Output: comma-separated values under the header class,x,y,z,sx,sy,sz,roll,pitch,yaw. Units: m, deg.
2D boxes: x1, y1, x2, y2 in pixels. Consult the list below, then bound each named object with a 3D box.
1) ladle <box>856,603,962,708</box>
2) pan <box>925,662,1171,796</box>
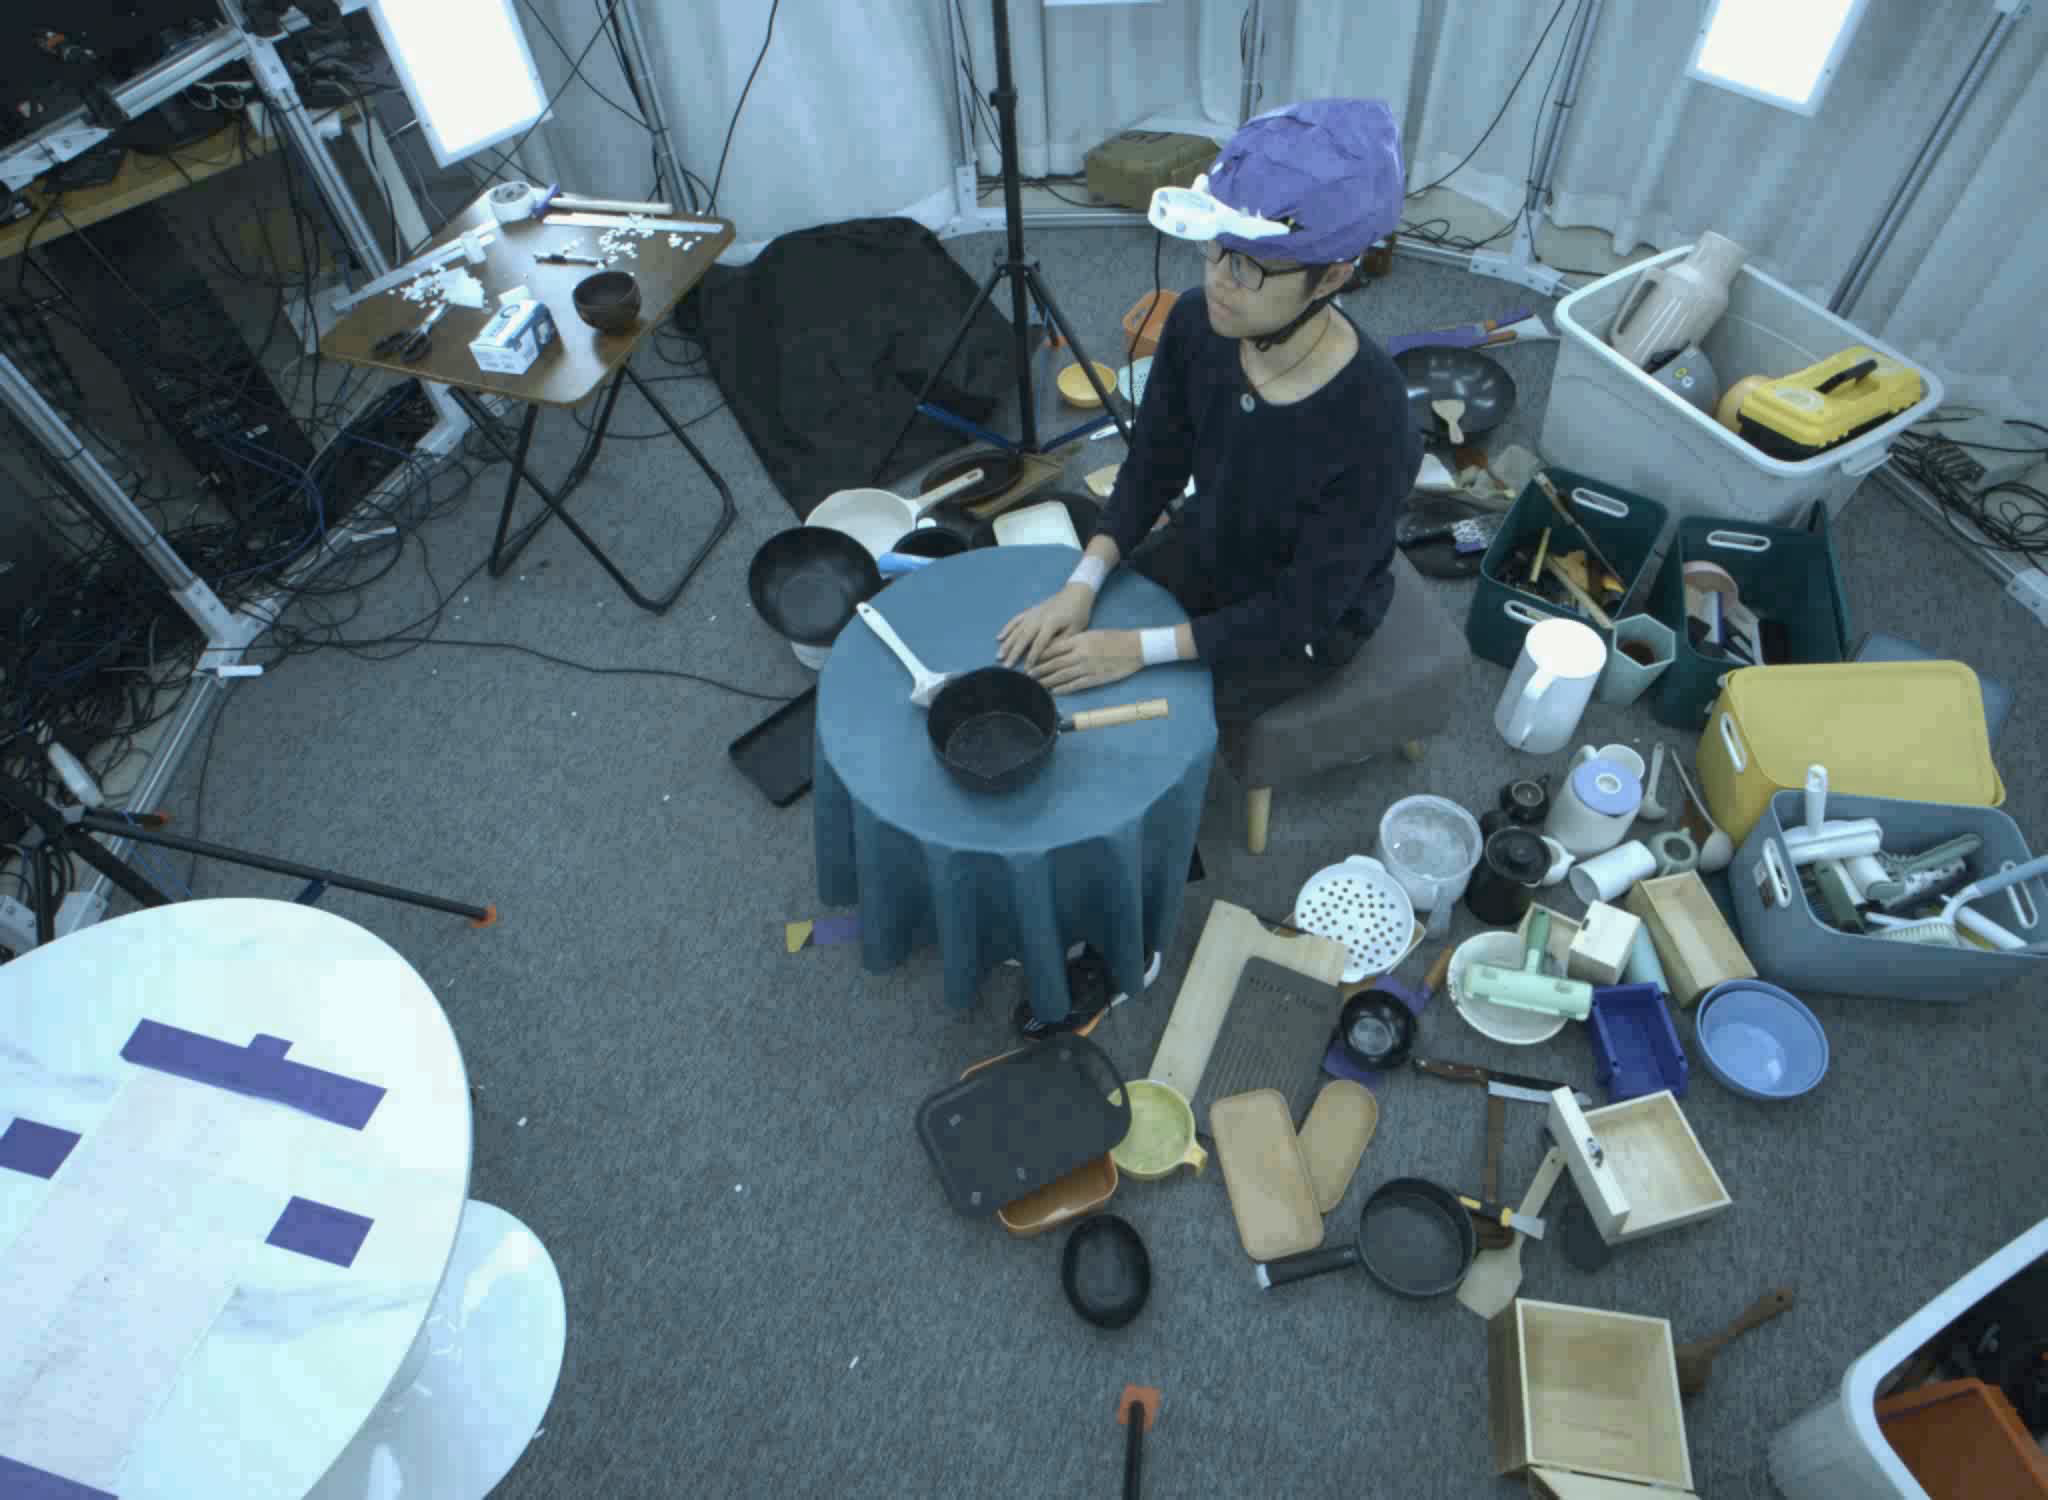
class,x,y,z,sx,sy,sz,roll,pitch,yaw
ladle,-0.192,-0.164,1.869,0.090,0.070,0.269,-35,60,-12
pan,0.036,-0.030,1.741,0.342,0.109,0.205,-3,54,2
